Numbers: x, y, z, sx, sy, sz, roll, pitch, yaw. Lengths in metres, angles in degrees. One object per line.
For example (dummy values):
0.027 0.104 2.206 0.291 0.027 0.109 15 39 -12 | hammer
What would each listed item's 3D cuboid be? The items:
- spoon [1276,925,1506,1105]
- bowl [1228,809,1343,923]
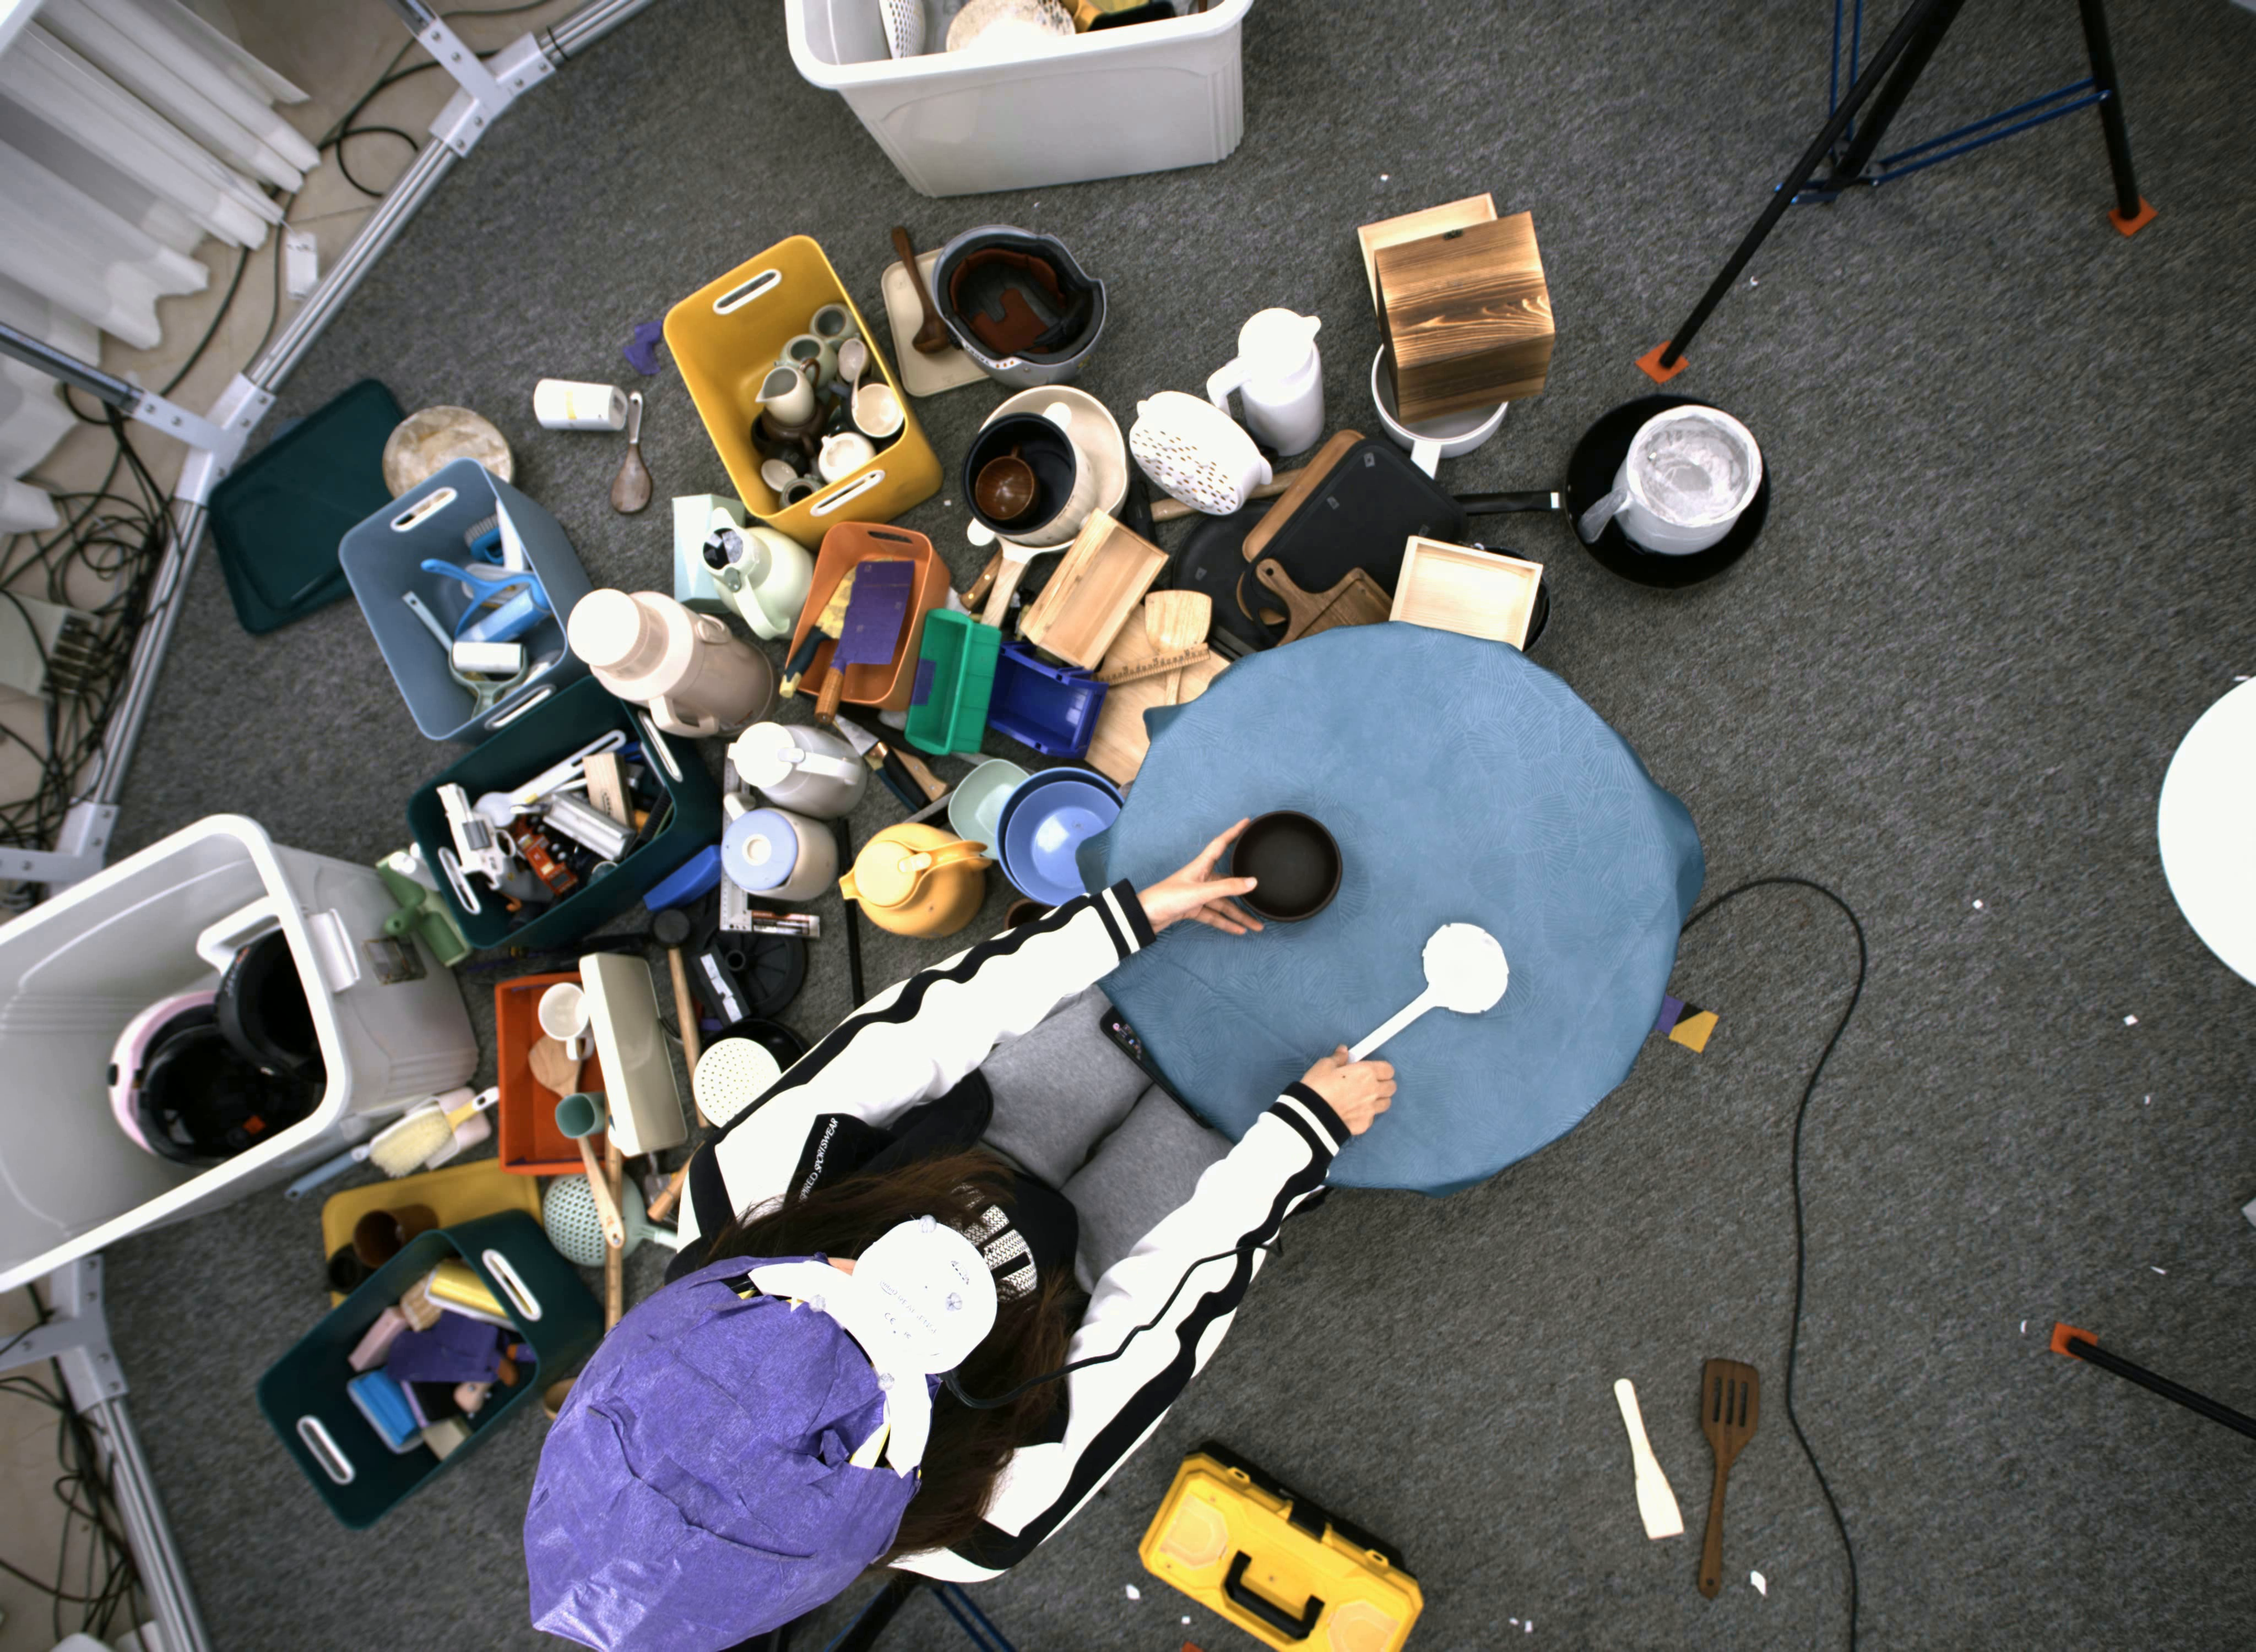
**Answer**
0.262 0.200 1.425 0.279 0.060 0.099 -35 72 6 | spoon
0.165 0.043 1.444 0.118 0.070 0.117 -1 86 11 | bowl
